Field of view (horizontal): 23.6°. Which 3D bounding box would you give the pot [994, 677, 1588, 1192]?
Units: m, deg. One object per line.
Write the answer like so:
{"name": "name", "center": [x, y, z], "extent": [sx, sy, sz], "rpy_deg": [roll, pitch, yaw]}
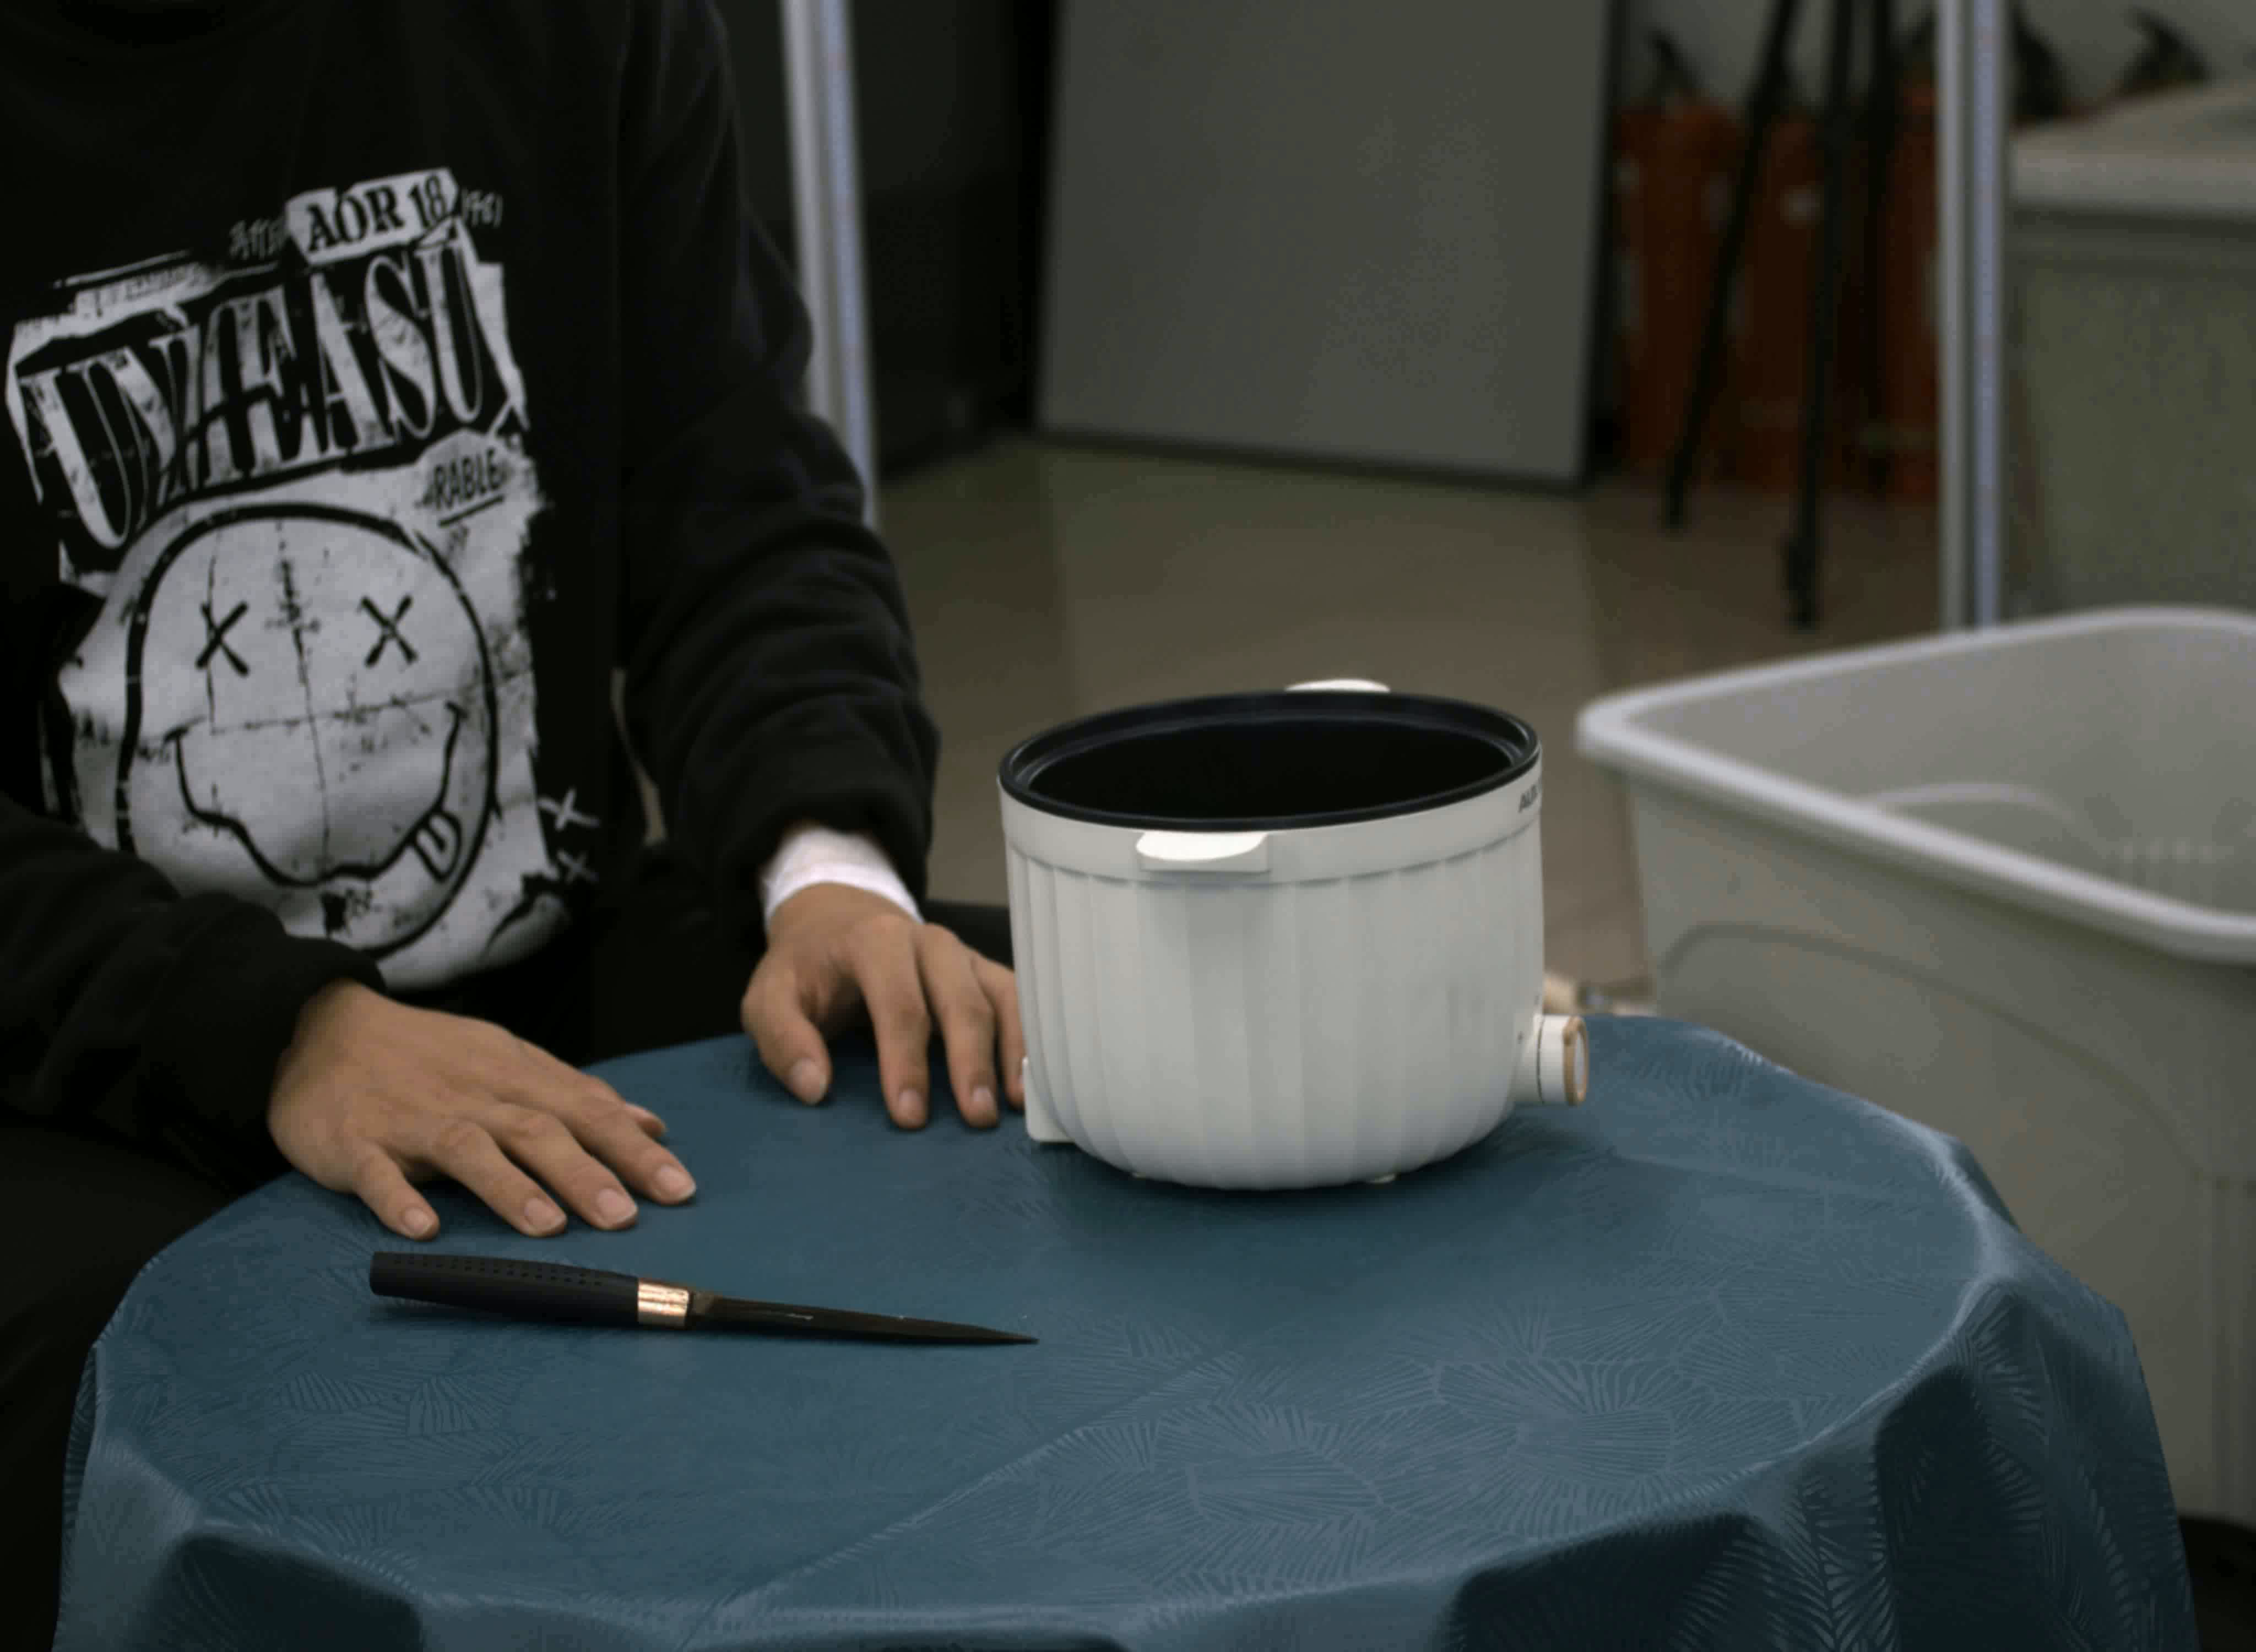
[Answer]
{"name": "pot", "center": [0.056, 0.038, 1.801], "extent": [0.190, 0.144, 0.239], "rpy_deg": [-4, 15, 16]}

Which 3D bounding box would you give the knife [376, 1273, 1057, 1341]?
{"name": "knife", "center": [-0.129, 0.151, 1.675], "extent": [0.225, 0.017, 0.026], "rpy_deg": [2, 0, 20]}
